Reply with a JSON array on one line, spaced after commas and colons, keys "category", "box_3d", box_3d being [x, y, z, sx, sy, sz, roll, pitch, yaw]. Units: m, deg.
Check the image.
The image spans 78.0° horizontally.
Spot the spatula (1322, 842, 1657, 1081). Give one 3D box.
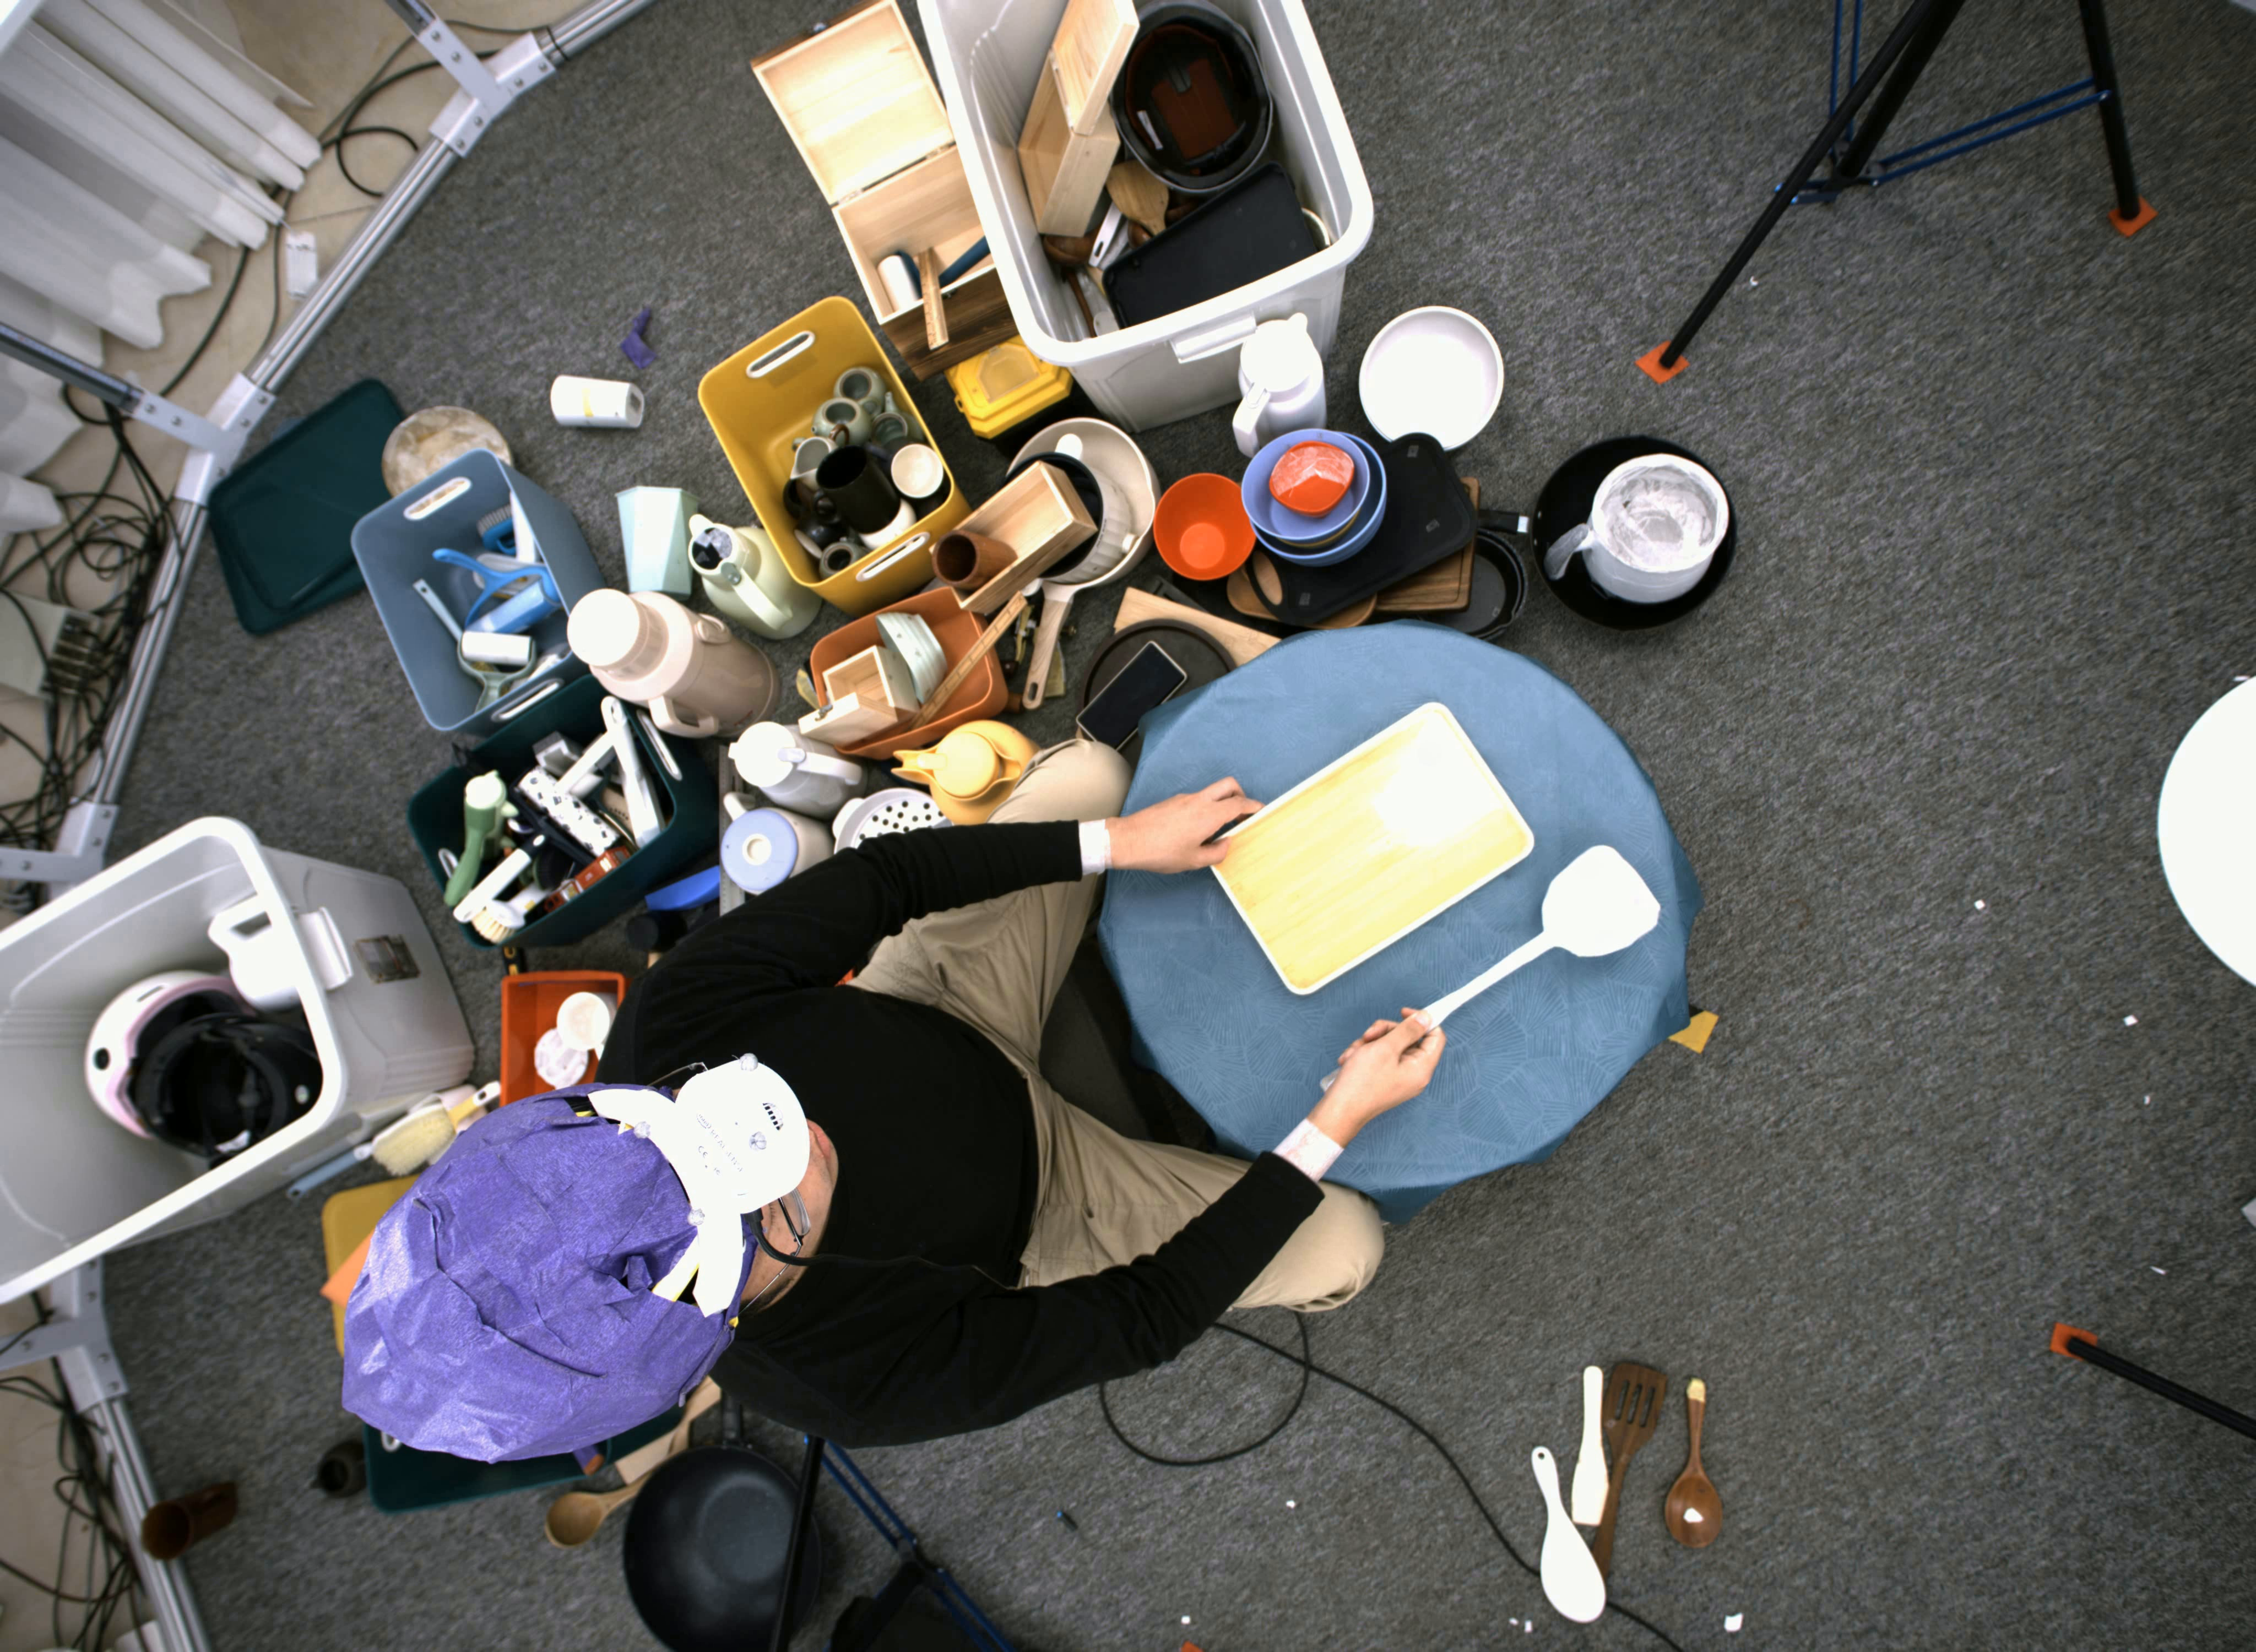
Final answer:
[{"category": "spatula", "box_3d": [0.346, 0.148, 1.351, 0.366, 0.045, 0.097, -34, 73, 4]}]

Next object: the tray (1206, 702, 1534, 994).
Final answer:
[{"category": "tray", "box_3d": [0.251, 0.022, 1.450, 0.302, 0.027, 0.190, -33, 83, 7]}]
